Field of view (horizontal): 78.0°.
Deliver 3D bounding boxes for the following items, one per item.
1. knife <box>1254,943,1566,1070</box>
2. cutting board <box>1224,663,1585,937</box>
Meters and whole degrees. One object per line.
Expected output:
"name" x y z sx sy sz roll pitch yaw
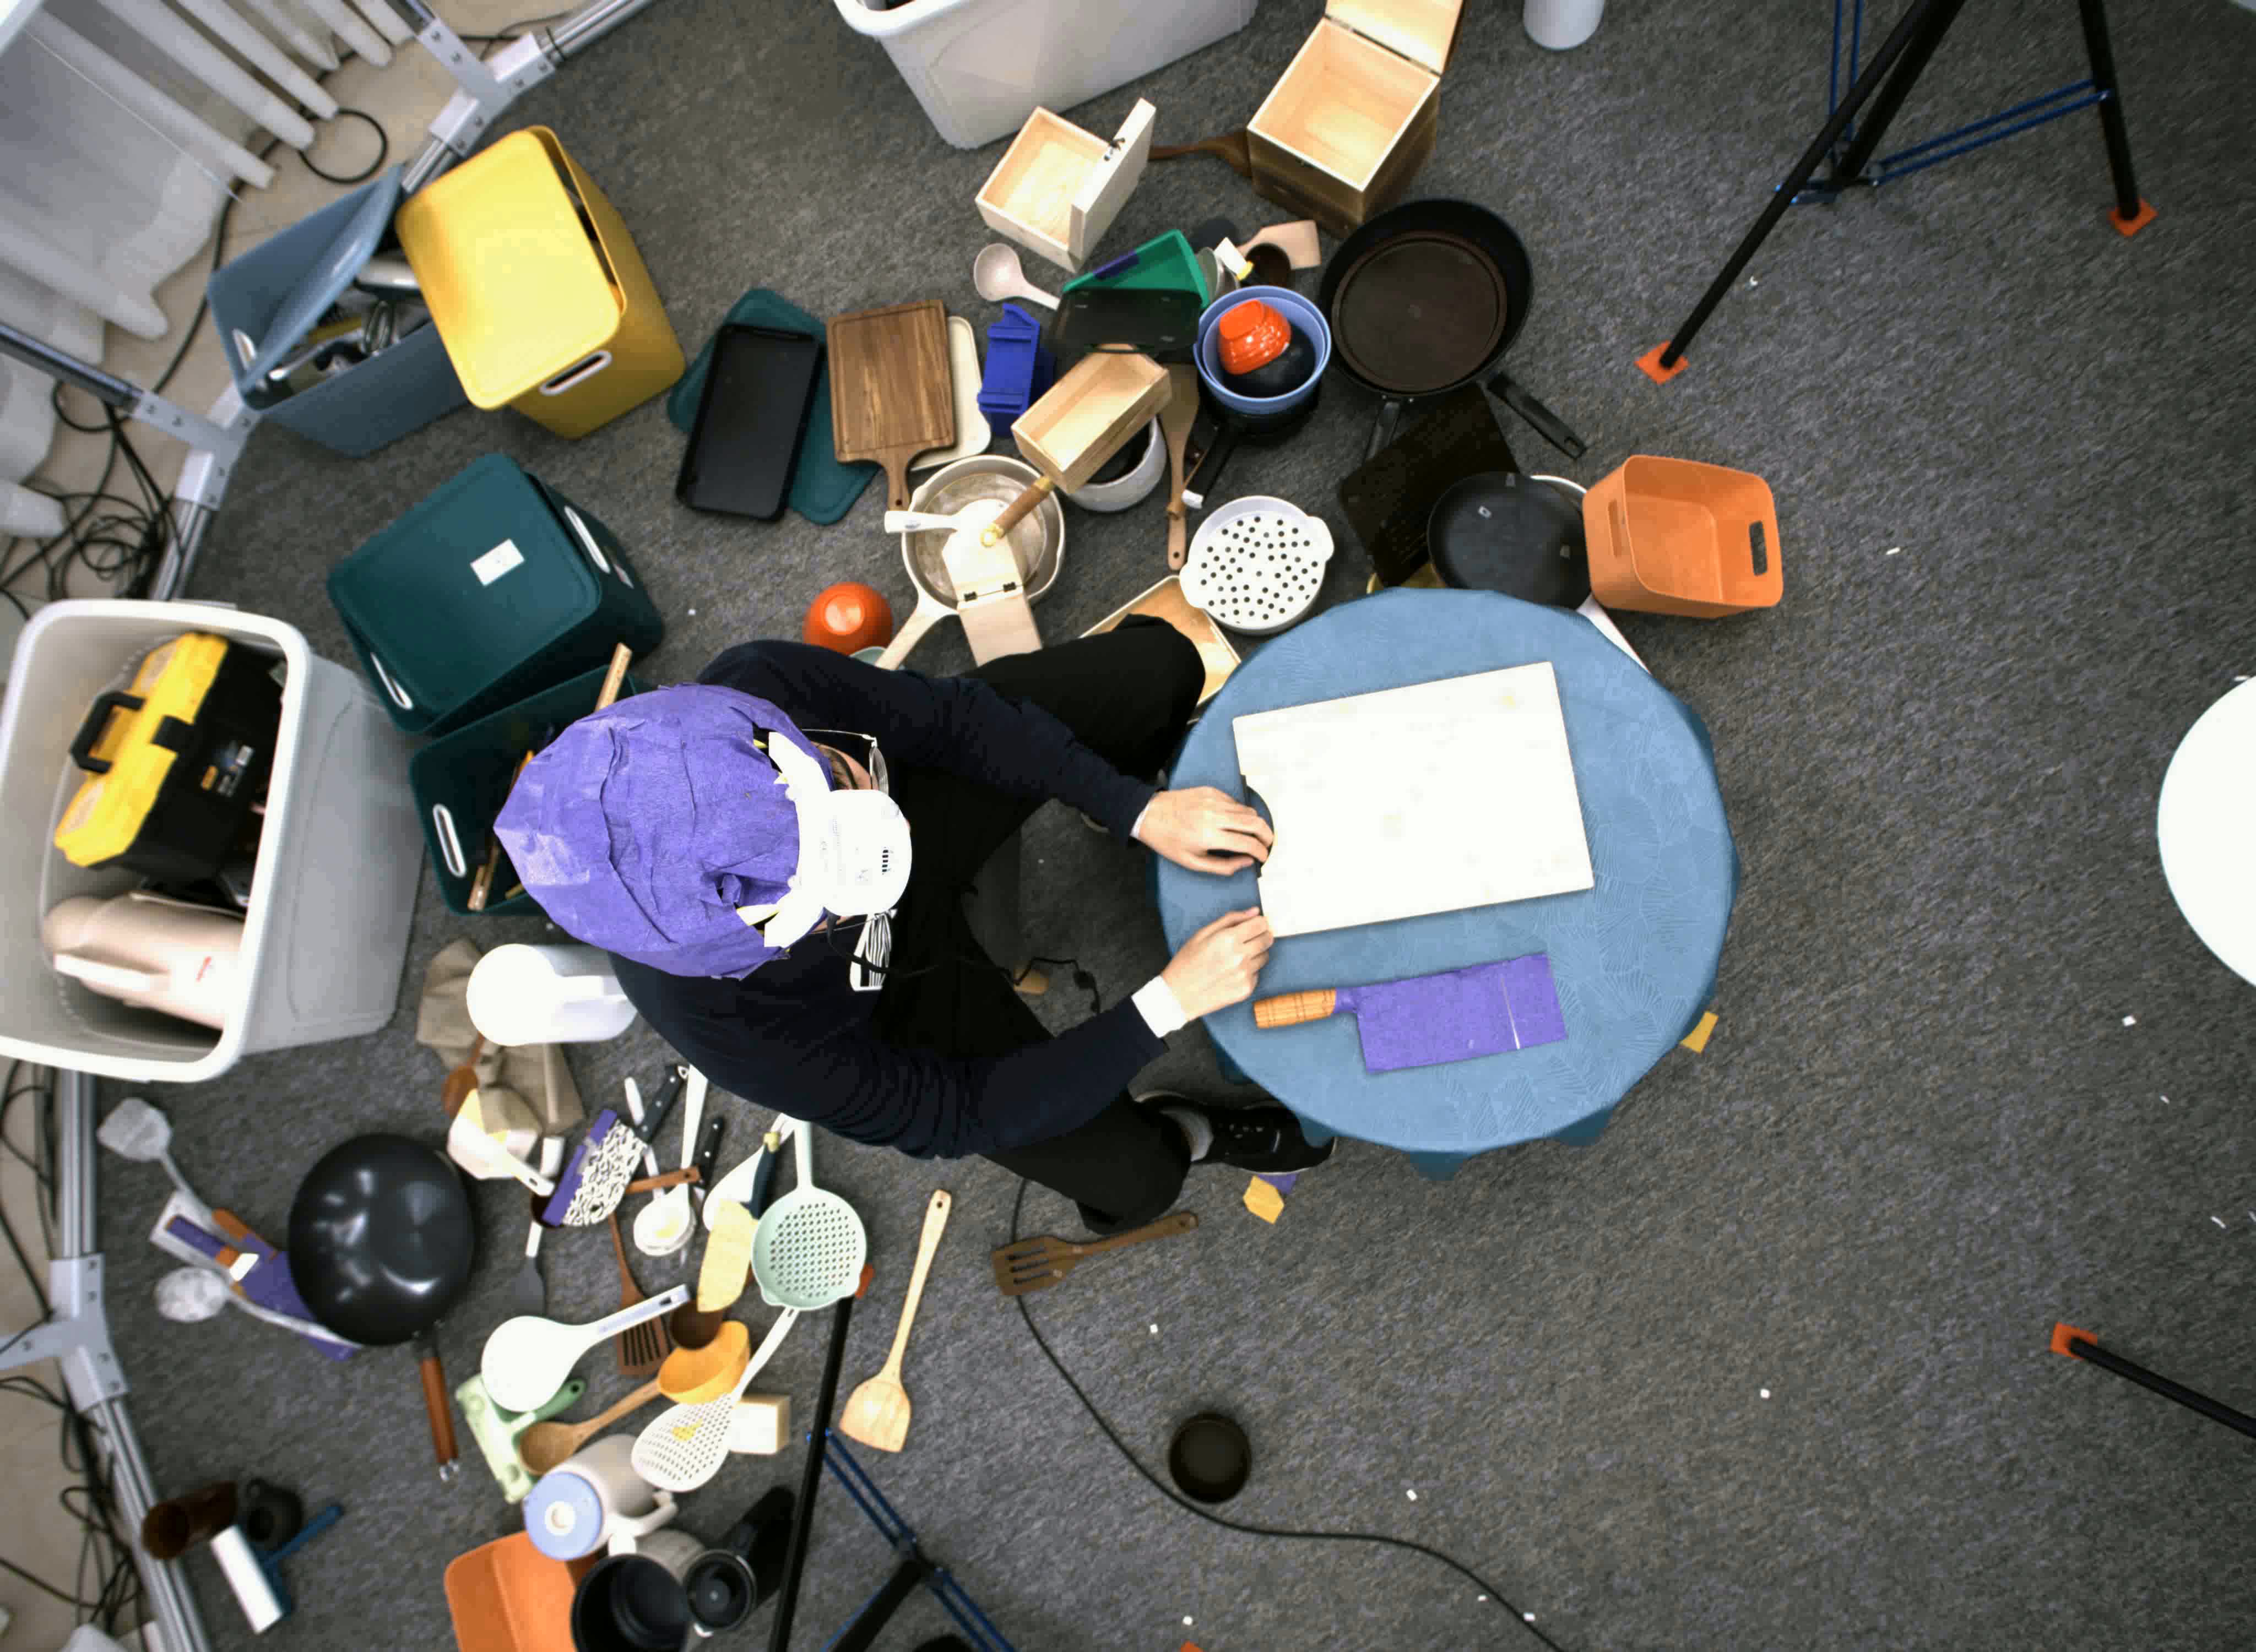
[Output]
"knife" 0.292 0.200 1.435 0.317 0.032 0.103 -12 84 9
"cutting board" 0.291 -0.028 1.453 0.350 0.023 0.249 -10 85 10
